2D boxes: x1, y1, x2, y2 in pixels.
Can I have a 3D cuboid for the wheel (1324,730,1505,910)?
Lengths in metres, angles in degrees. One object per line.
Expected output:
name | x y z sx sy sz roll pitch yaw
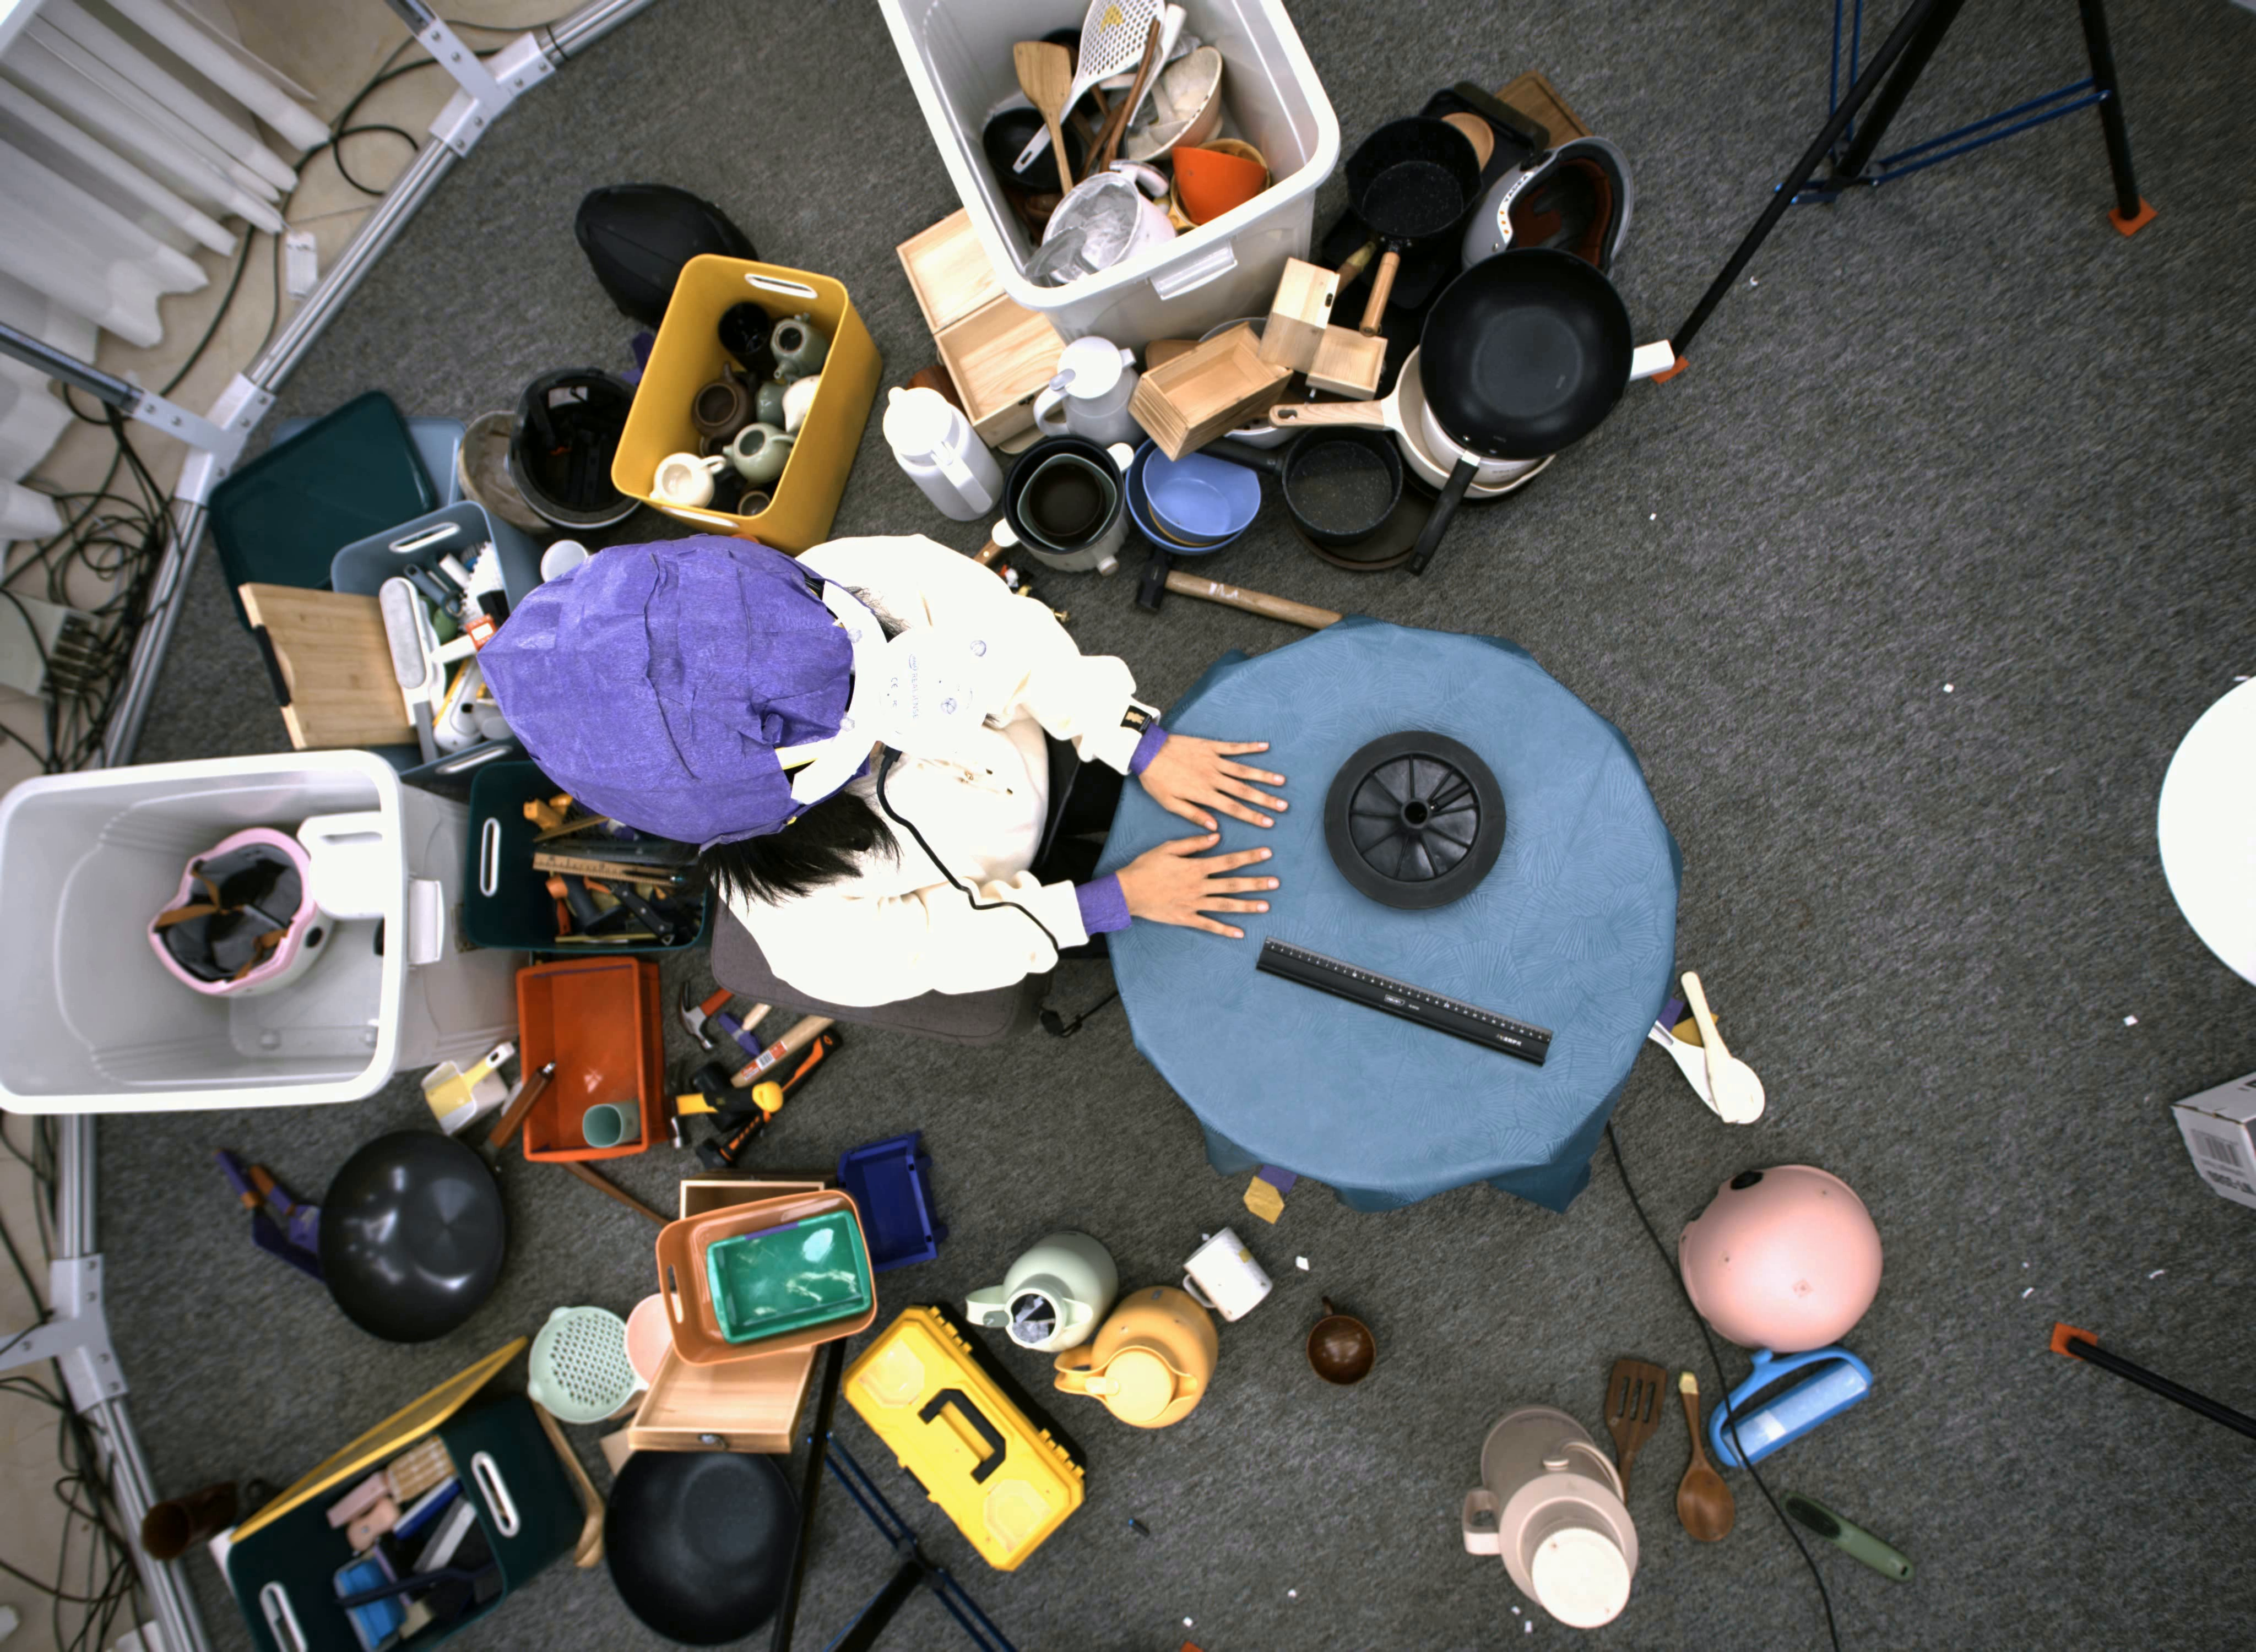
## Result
wheel | 0.296 -0.011 1.421 0.187 0.079 0.190 35 93 11

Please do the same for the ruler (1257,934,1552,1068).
ruler | 0.287 0.180 1.443 0.312 0.017 0.039 19 86 12
